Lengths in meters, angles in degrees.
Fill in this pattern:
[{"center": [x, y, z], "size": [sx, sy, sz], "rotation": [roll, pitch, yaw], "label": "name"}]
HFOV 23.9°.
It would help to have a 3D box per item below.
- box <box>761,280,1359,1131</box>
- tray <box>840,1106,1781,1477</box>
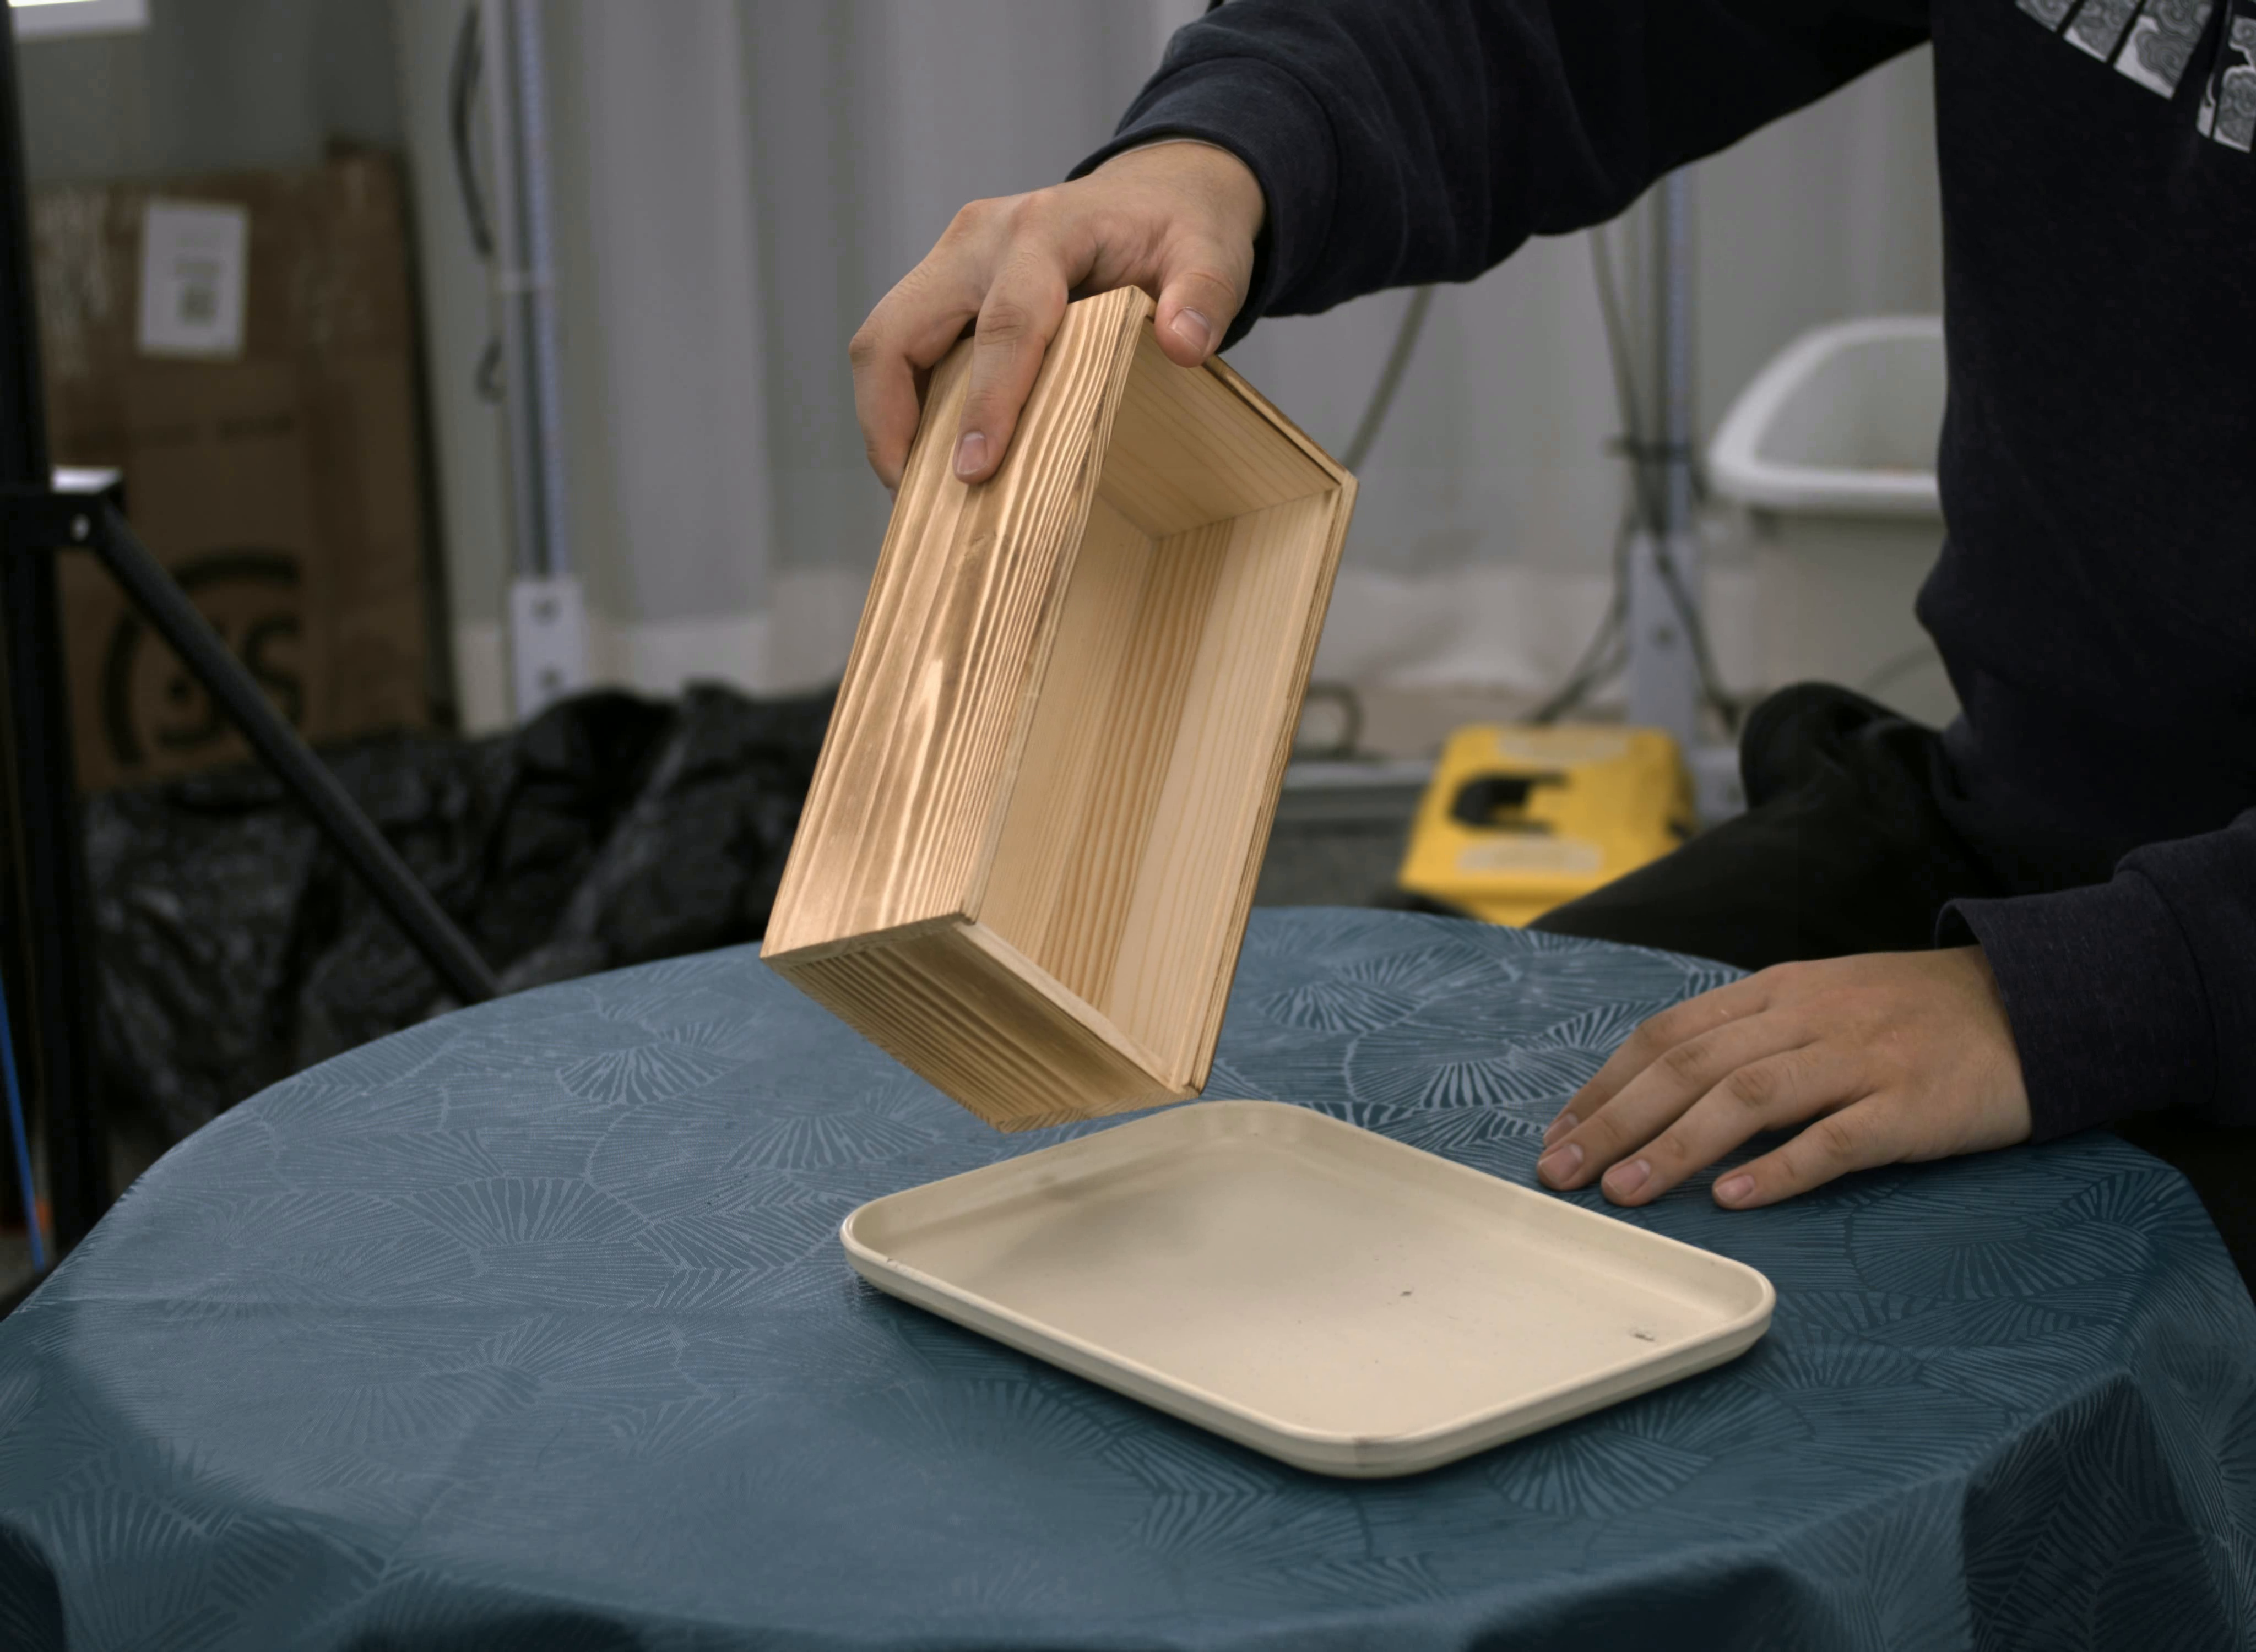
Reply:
[{"center": [-0.016, -0.034, 1.522], "size": [0.082, 0.212, 0.105], "rotation": [-14, -39, 41], "label": "box"}, {"center": [0.048, 0.126, 1.456], "size": [0.167, 0.017, 0.245], "rotation": [-14, 19, -36], "label": "tray"}]
